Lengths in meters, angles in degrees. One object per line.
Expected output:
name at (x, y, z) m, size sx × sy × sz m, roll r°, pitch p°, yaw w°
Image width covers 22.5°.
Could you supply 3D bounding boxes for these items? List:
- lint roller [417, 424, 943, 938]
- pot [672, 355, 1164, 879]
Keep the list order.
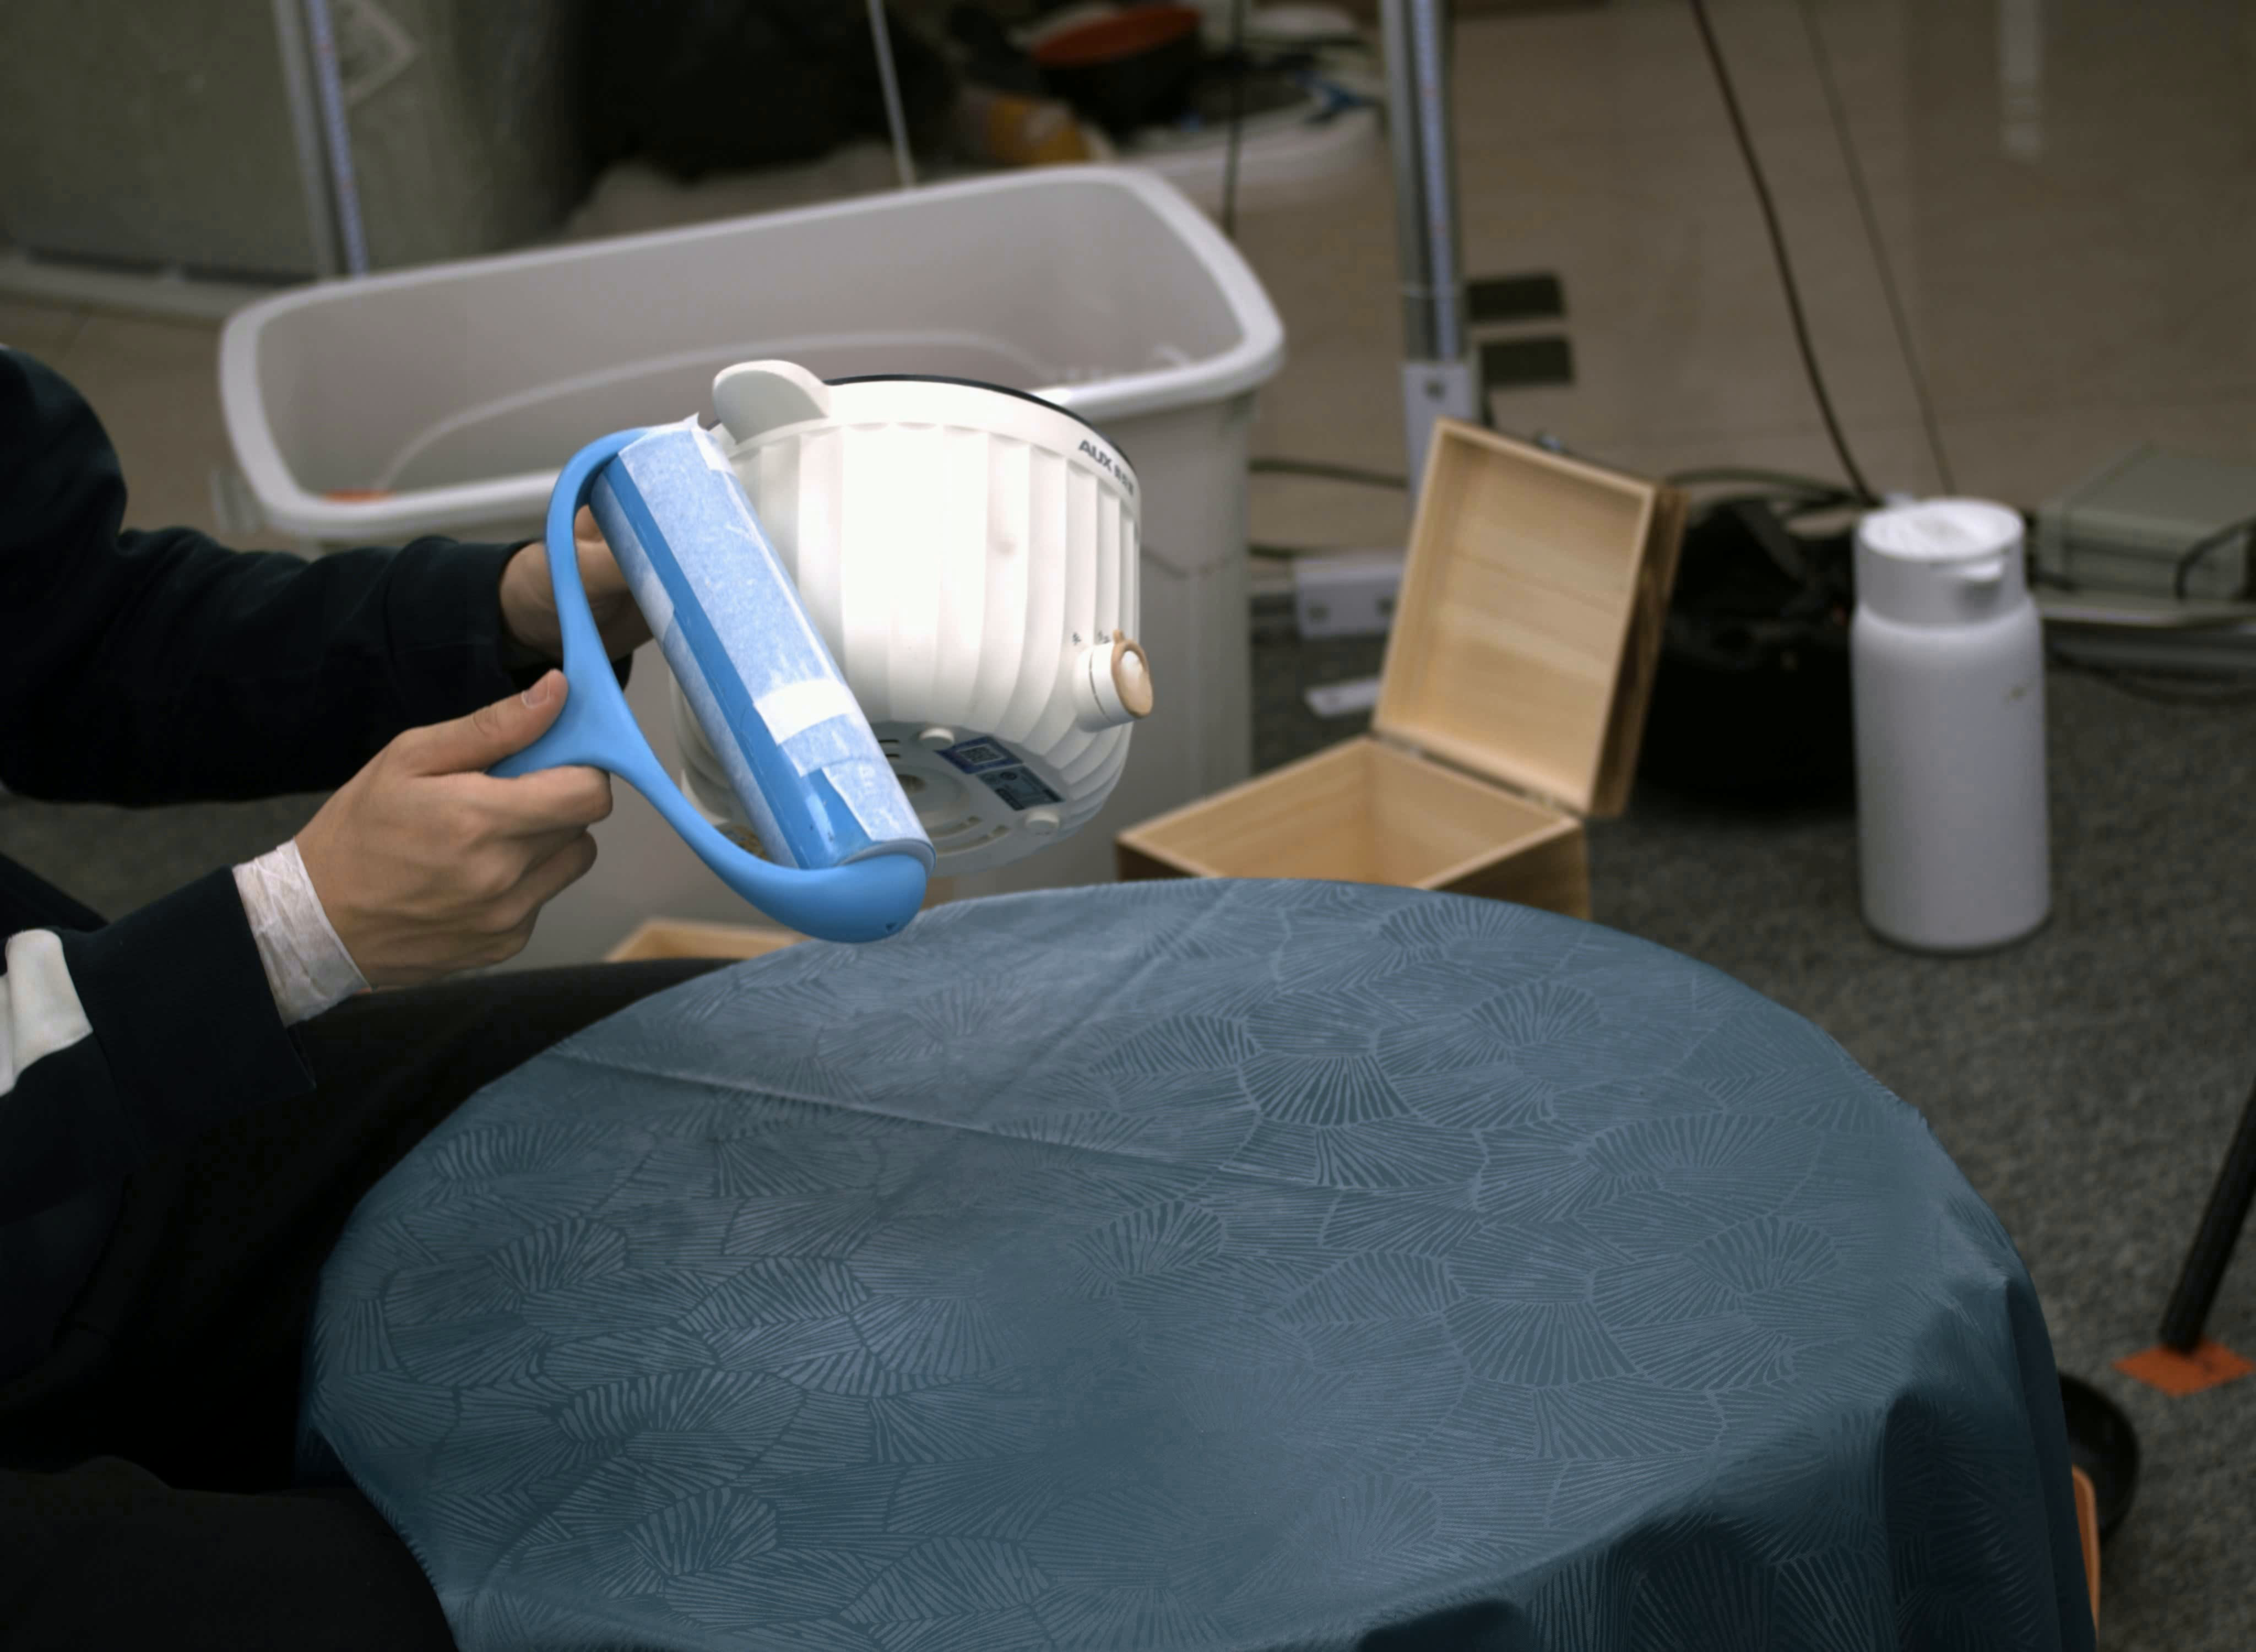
lint roller at (-0.182, -0.023, 2.019) m, size 0.180 × 0.069 × 0.226 m, roll -32°, pitch 65°, yaw -1°
pot at (-0.078, -0.068, 2.135) m, size 0.191 × 0.243 × 0.140 m, roll -17°, pitch 61°, yaw 23°
